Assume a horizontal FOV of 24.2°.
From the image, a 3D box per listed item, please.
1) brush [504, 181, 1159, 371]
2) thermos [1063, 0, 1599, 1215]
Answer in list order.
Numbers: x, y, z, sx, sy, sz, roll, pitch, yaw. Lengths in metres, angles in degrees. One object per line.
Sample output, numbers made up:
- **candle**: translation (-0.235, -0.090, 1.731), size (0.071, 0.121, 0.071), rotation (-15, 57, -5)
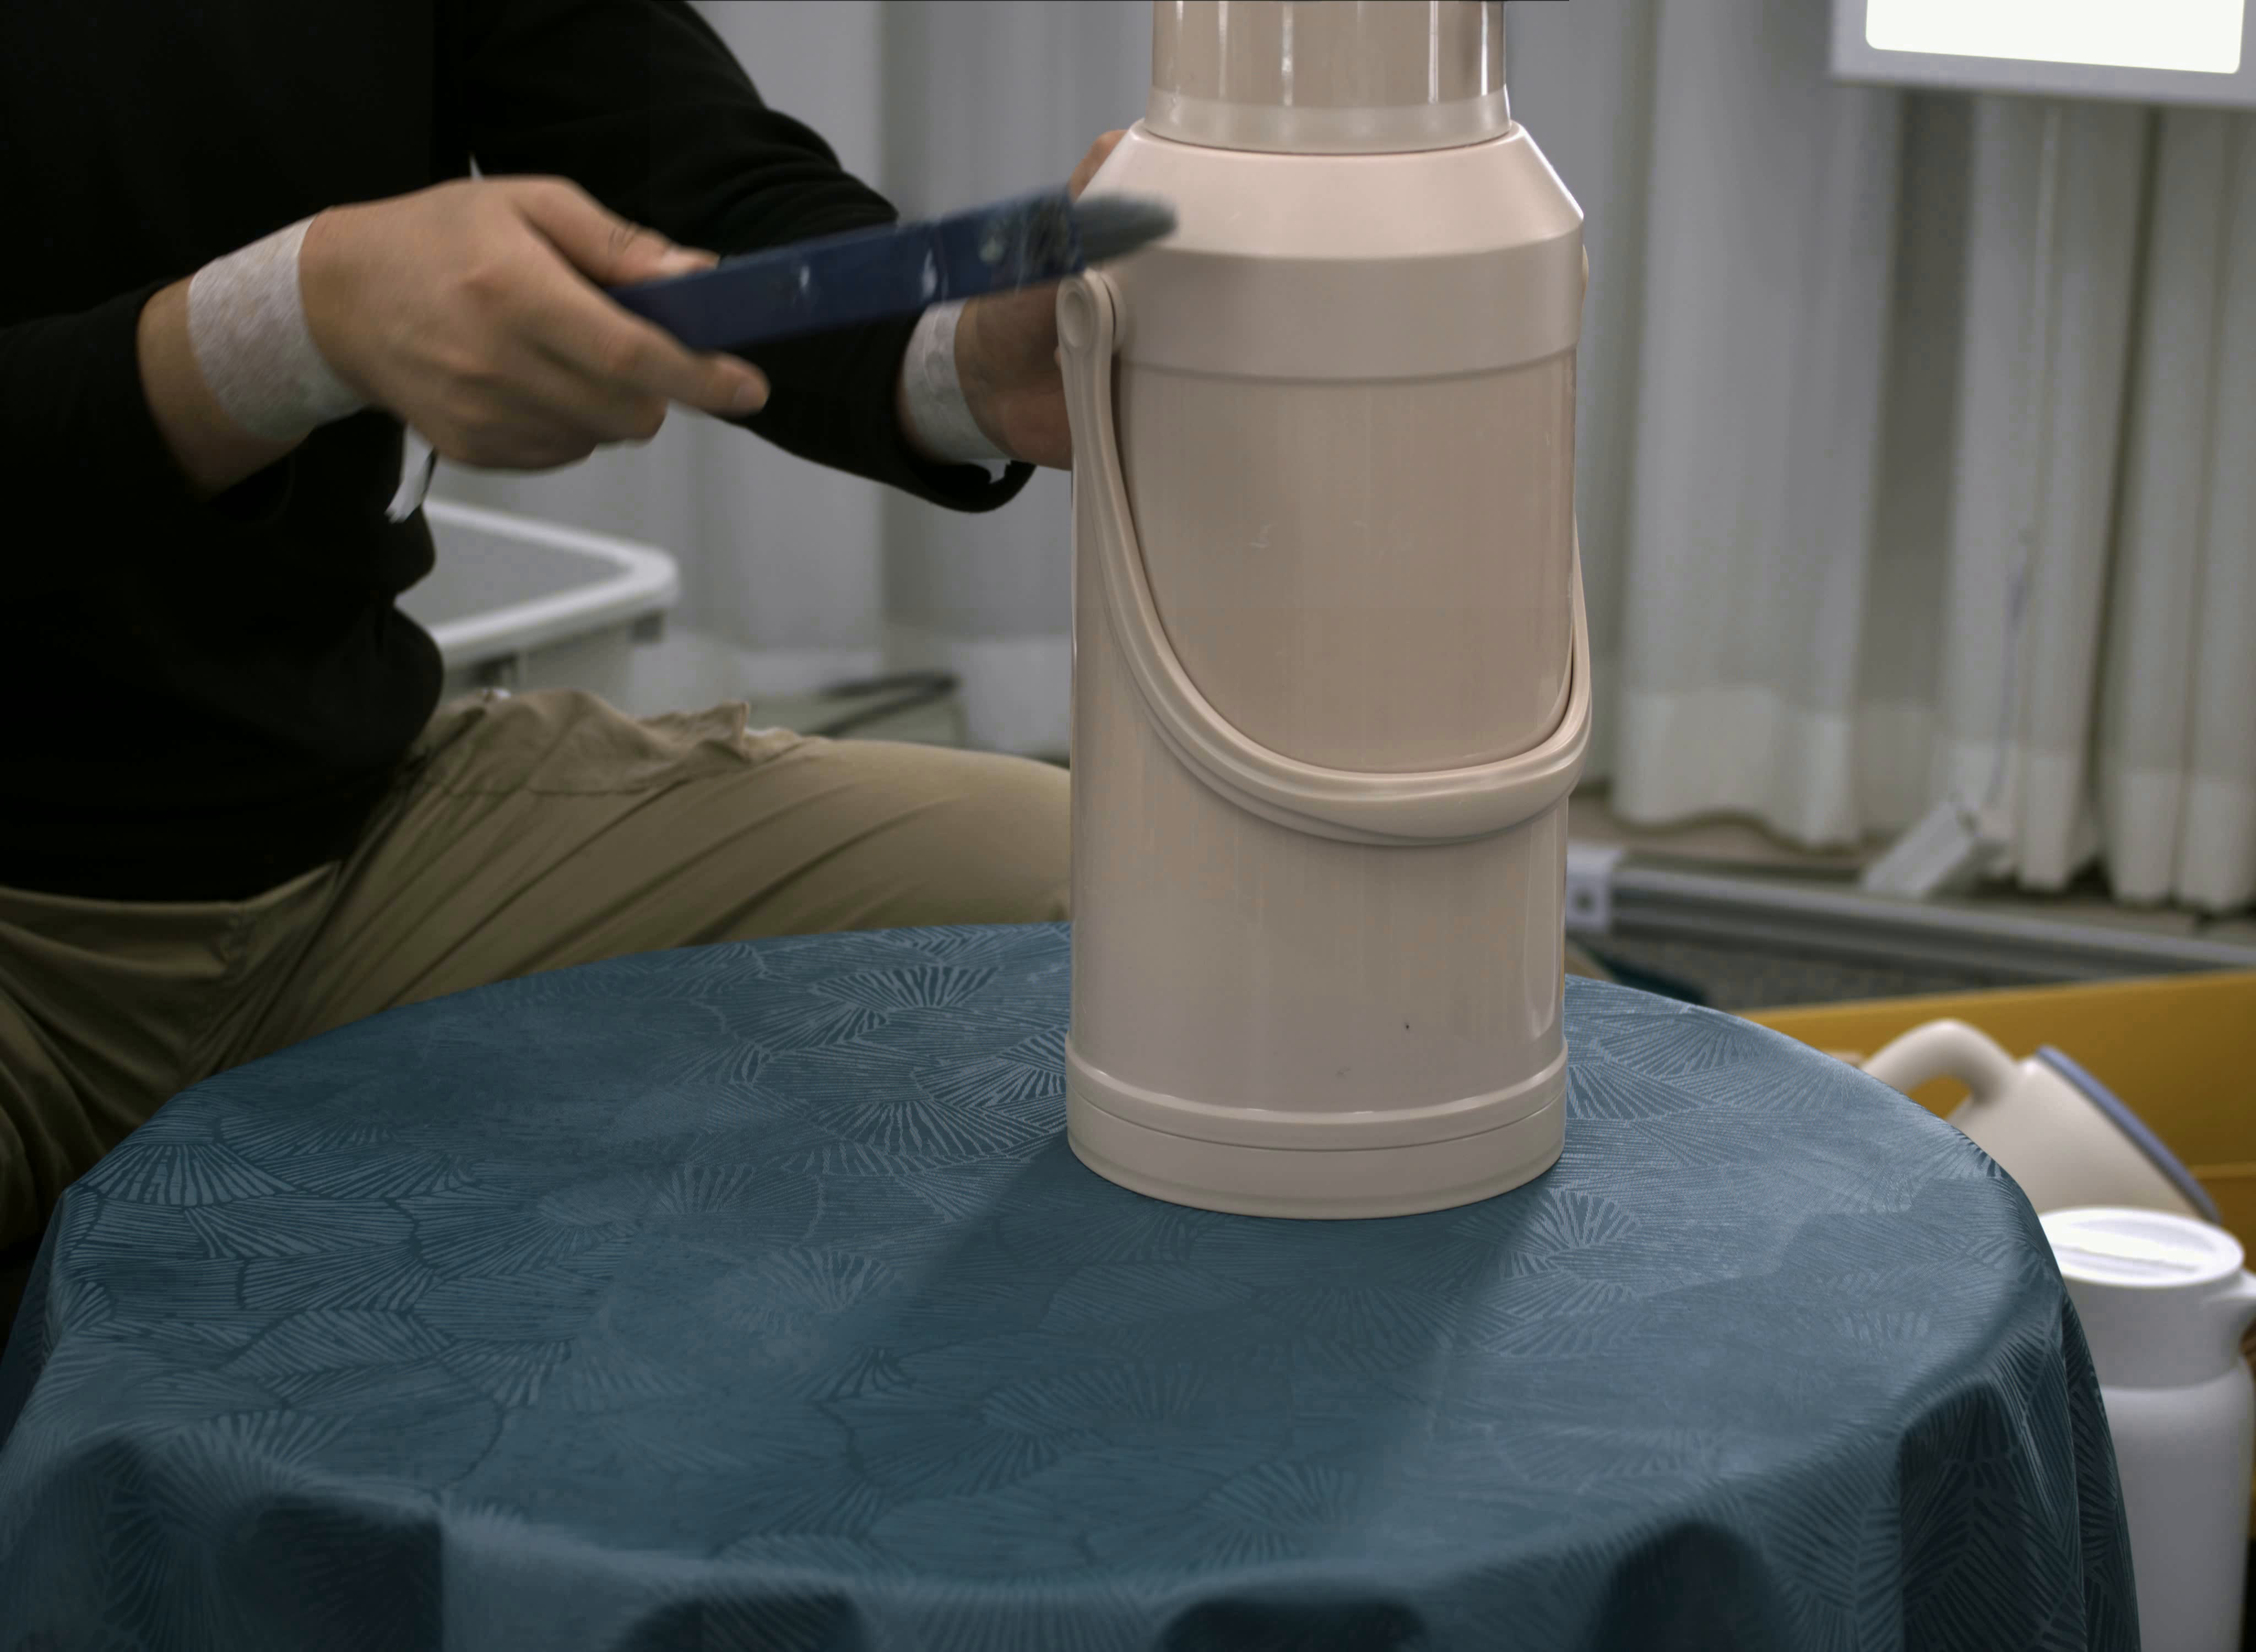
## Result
- **brush**: translation (-0.105, -0.163, 1.540), size (0.270, 0.034, 0.096), rotation (-6, 7, 38)
- **thermos**: translation (0.056, -0.096, 1.630), size (0.176, 0.410, 0.204), rotation (-11, 20, -29)
